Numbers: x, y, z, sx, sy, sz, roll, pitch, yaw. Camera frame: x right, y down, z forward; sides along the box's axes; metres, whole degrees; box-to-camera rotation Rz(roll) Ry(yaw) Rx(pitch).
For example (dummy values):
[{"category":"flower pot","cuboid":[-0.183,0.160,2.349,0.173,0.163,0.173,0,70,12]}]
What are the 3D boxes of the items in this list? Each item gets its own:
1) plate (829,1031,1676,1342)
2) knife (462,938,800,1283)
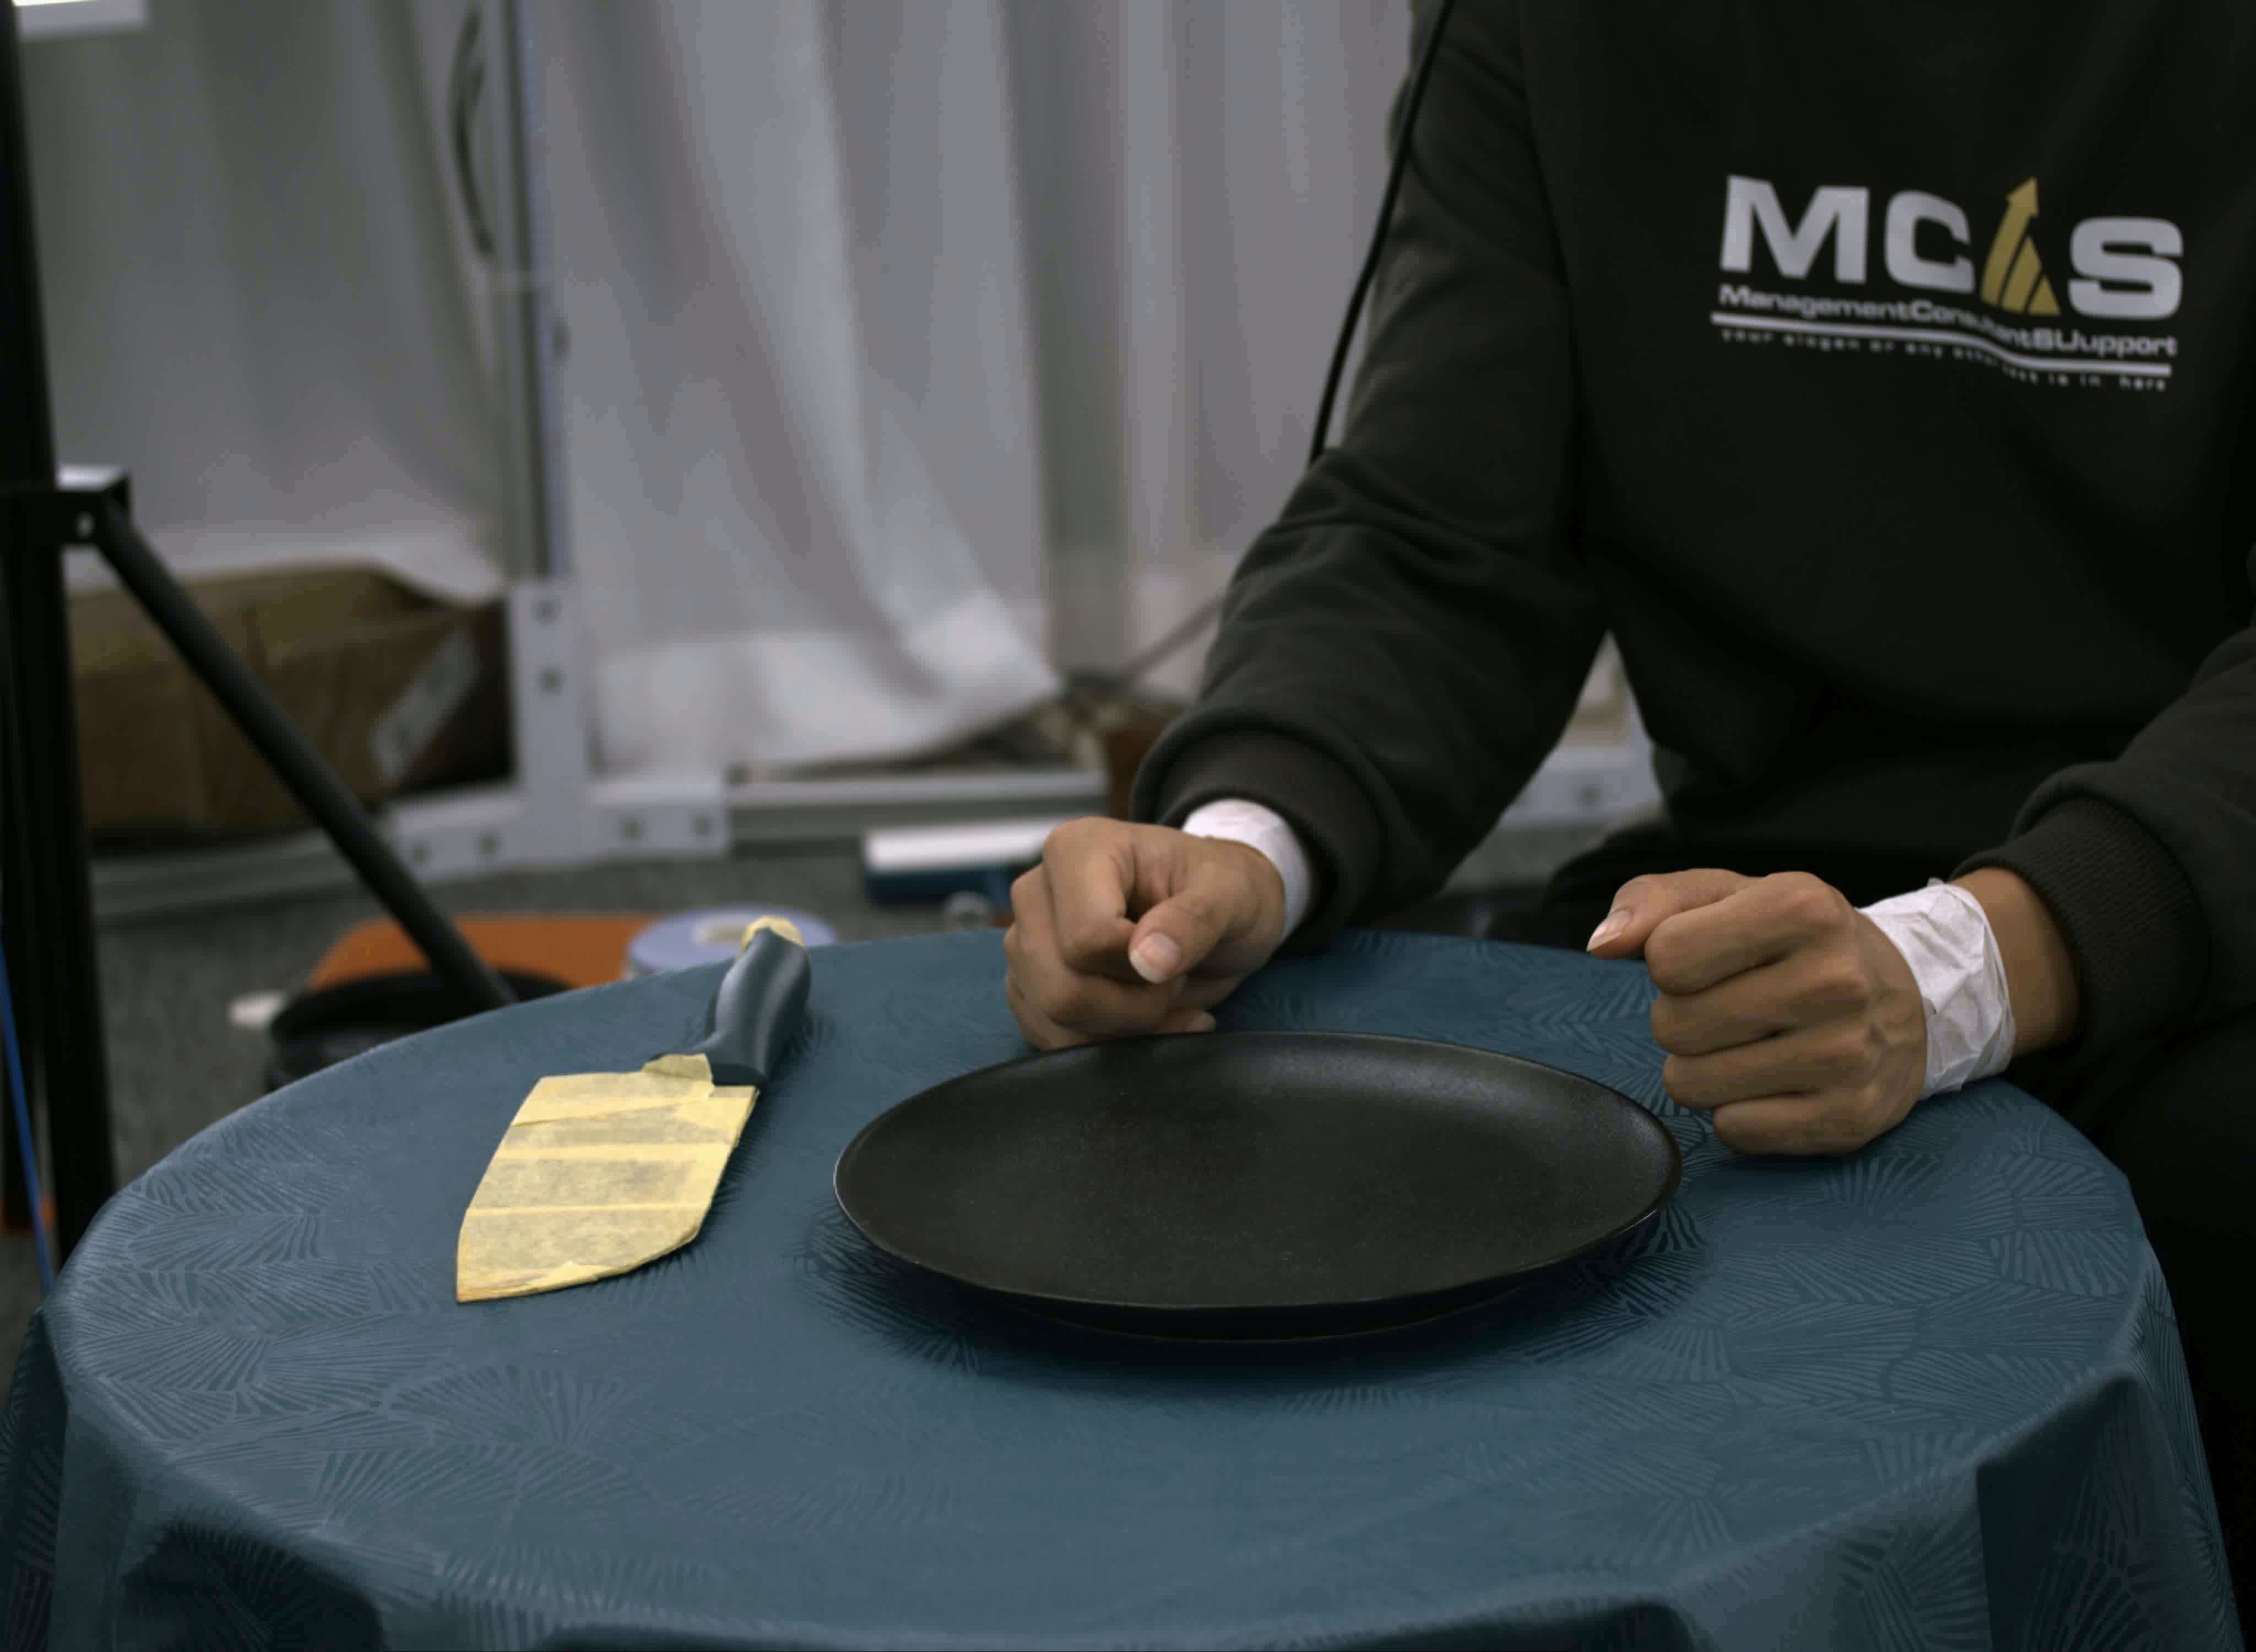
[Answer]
[{"category":"plate","cuboid":[0.036,0.105,1.522,0.243,0.023,0.245,-3,16,-1]},{"category":"knife","cuboid":[-0.148,0.087,1.633,0.081,0.027,0.288,2,17,8]}]
